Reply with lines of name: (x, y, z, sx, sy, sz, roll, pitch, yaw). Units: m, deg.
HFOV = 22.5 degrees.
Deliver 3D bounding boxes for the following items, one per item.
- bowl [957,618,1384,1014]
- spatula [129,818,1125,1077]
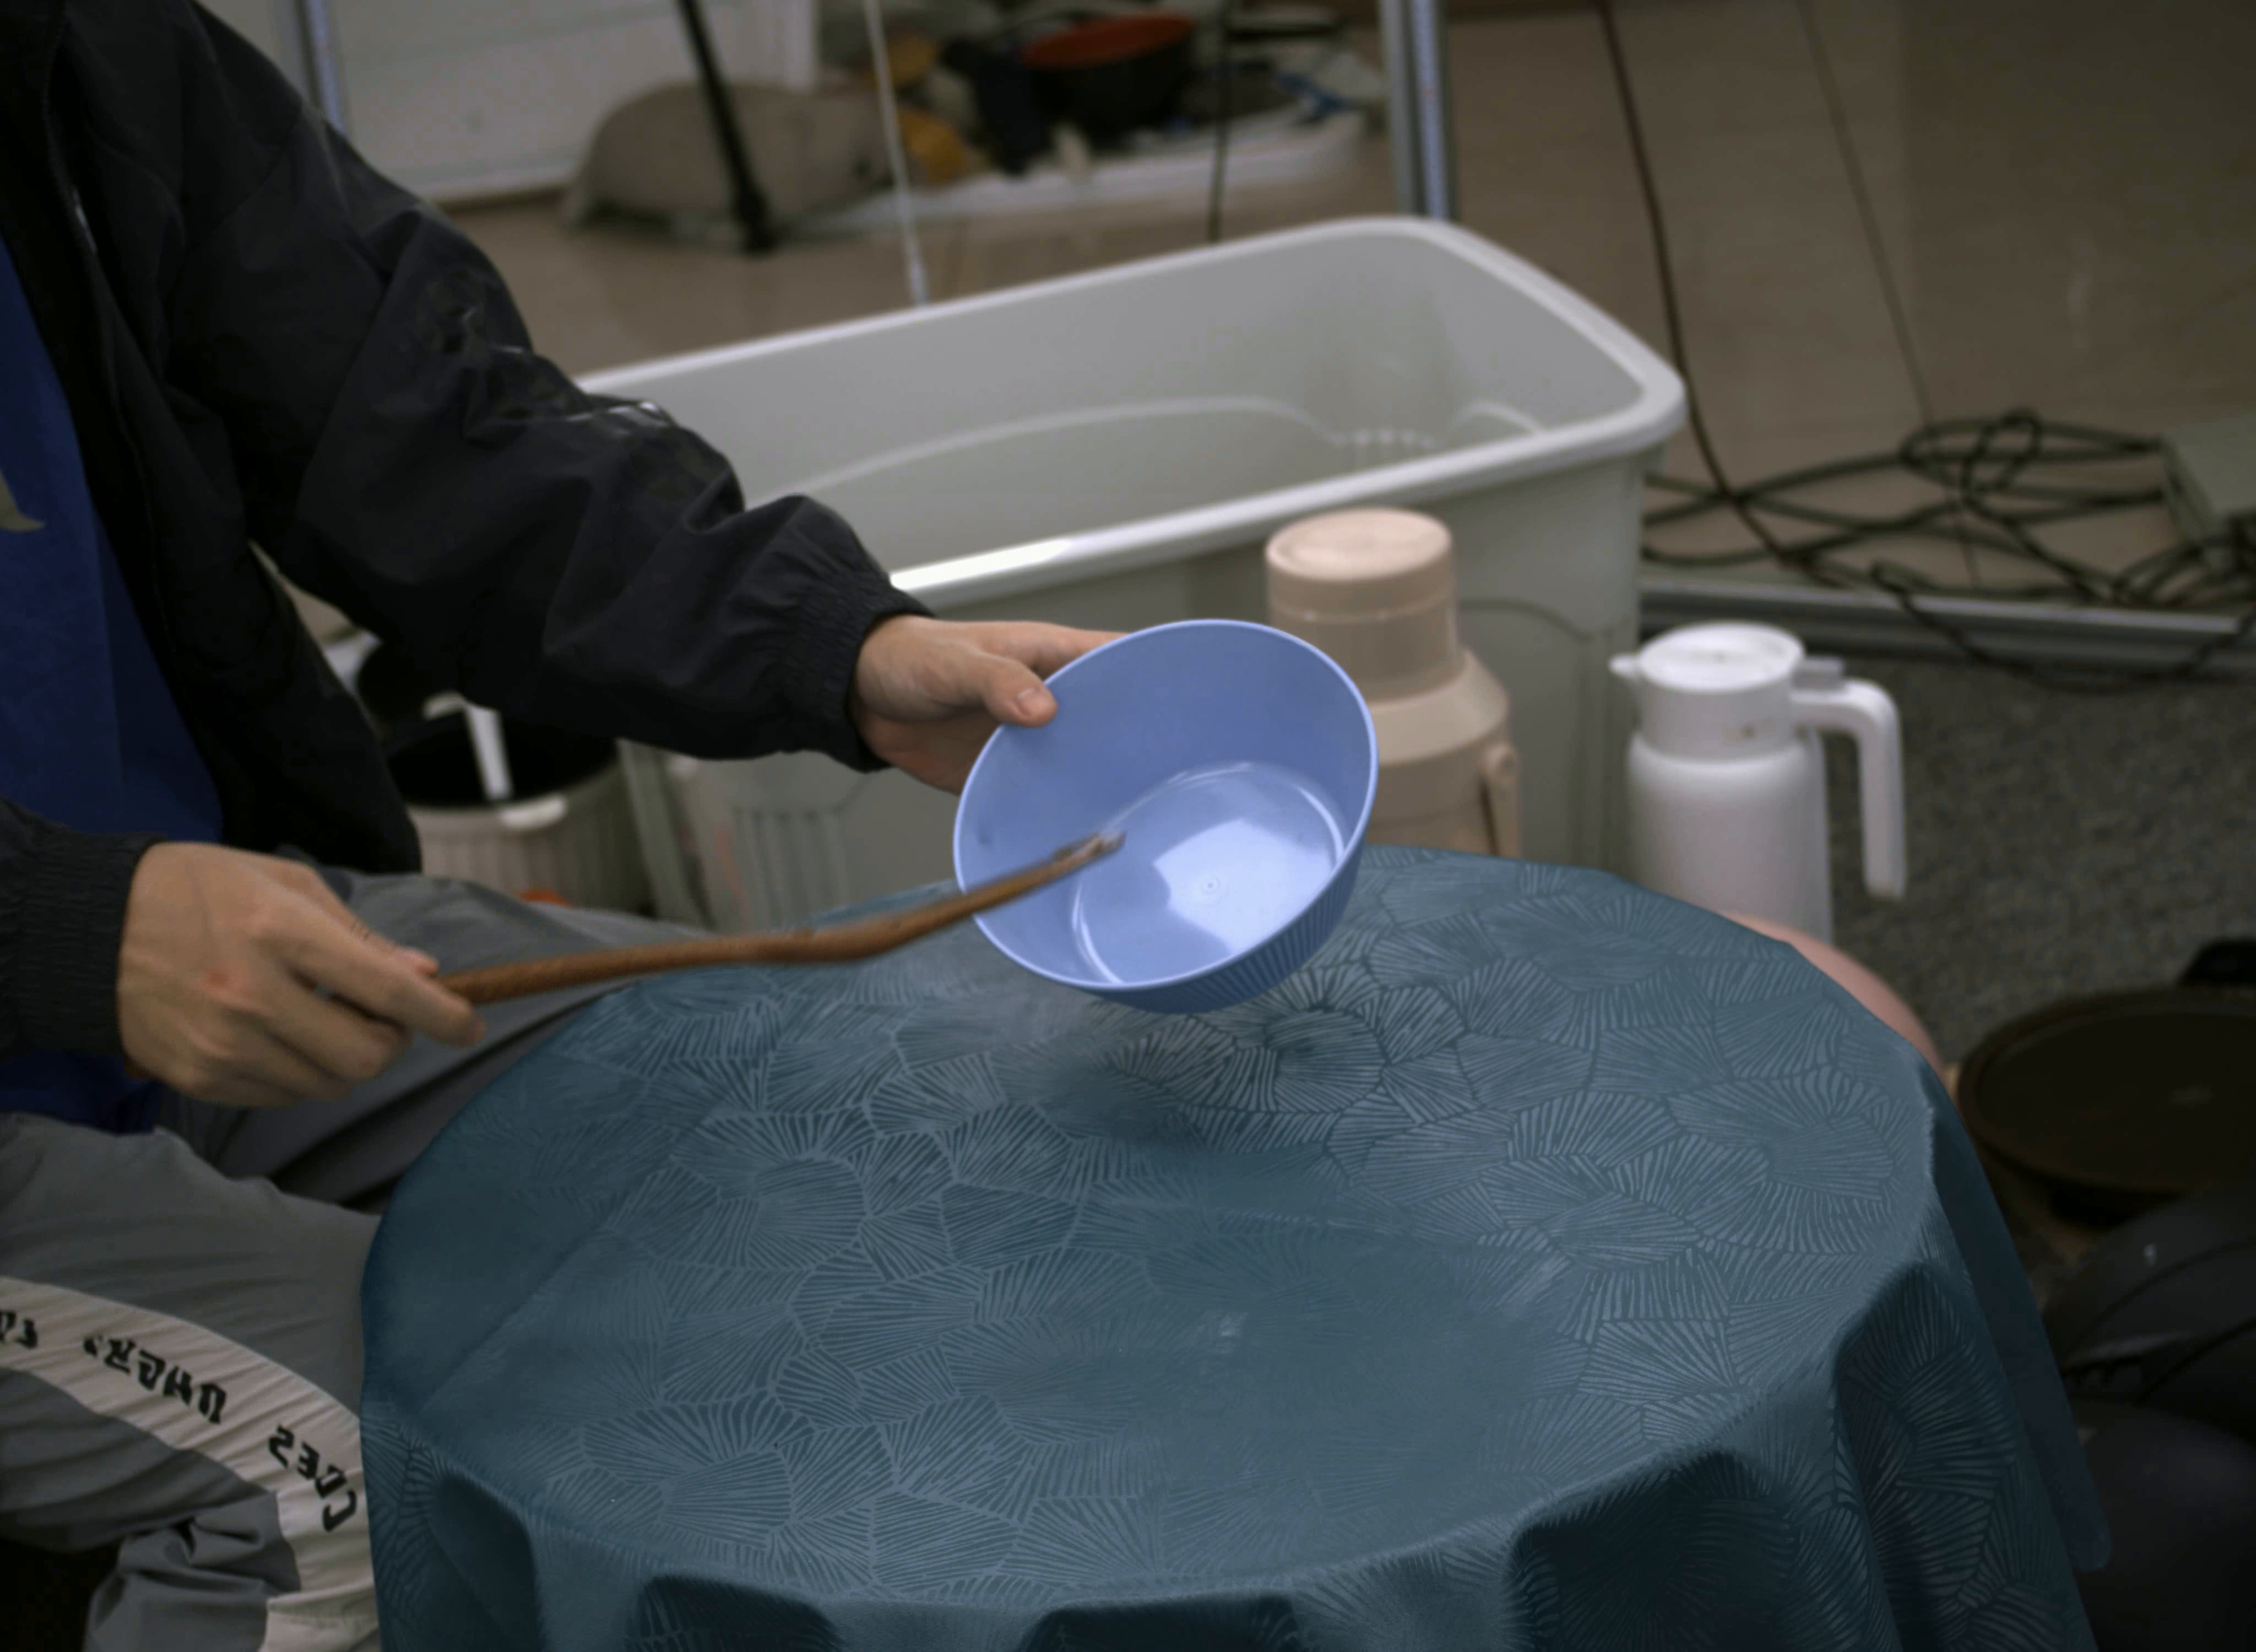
bowl: (0.026, 0.008, 2.229, 0.176, 0.071, 0.173, -11, 54, 16)
spatula: (-0.185, 0.049, 2.053, 0.387, 0.024, 0.085, -12, 5, 14)
